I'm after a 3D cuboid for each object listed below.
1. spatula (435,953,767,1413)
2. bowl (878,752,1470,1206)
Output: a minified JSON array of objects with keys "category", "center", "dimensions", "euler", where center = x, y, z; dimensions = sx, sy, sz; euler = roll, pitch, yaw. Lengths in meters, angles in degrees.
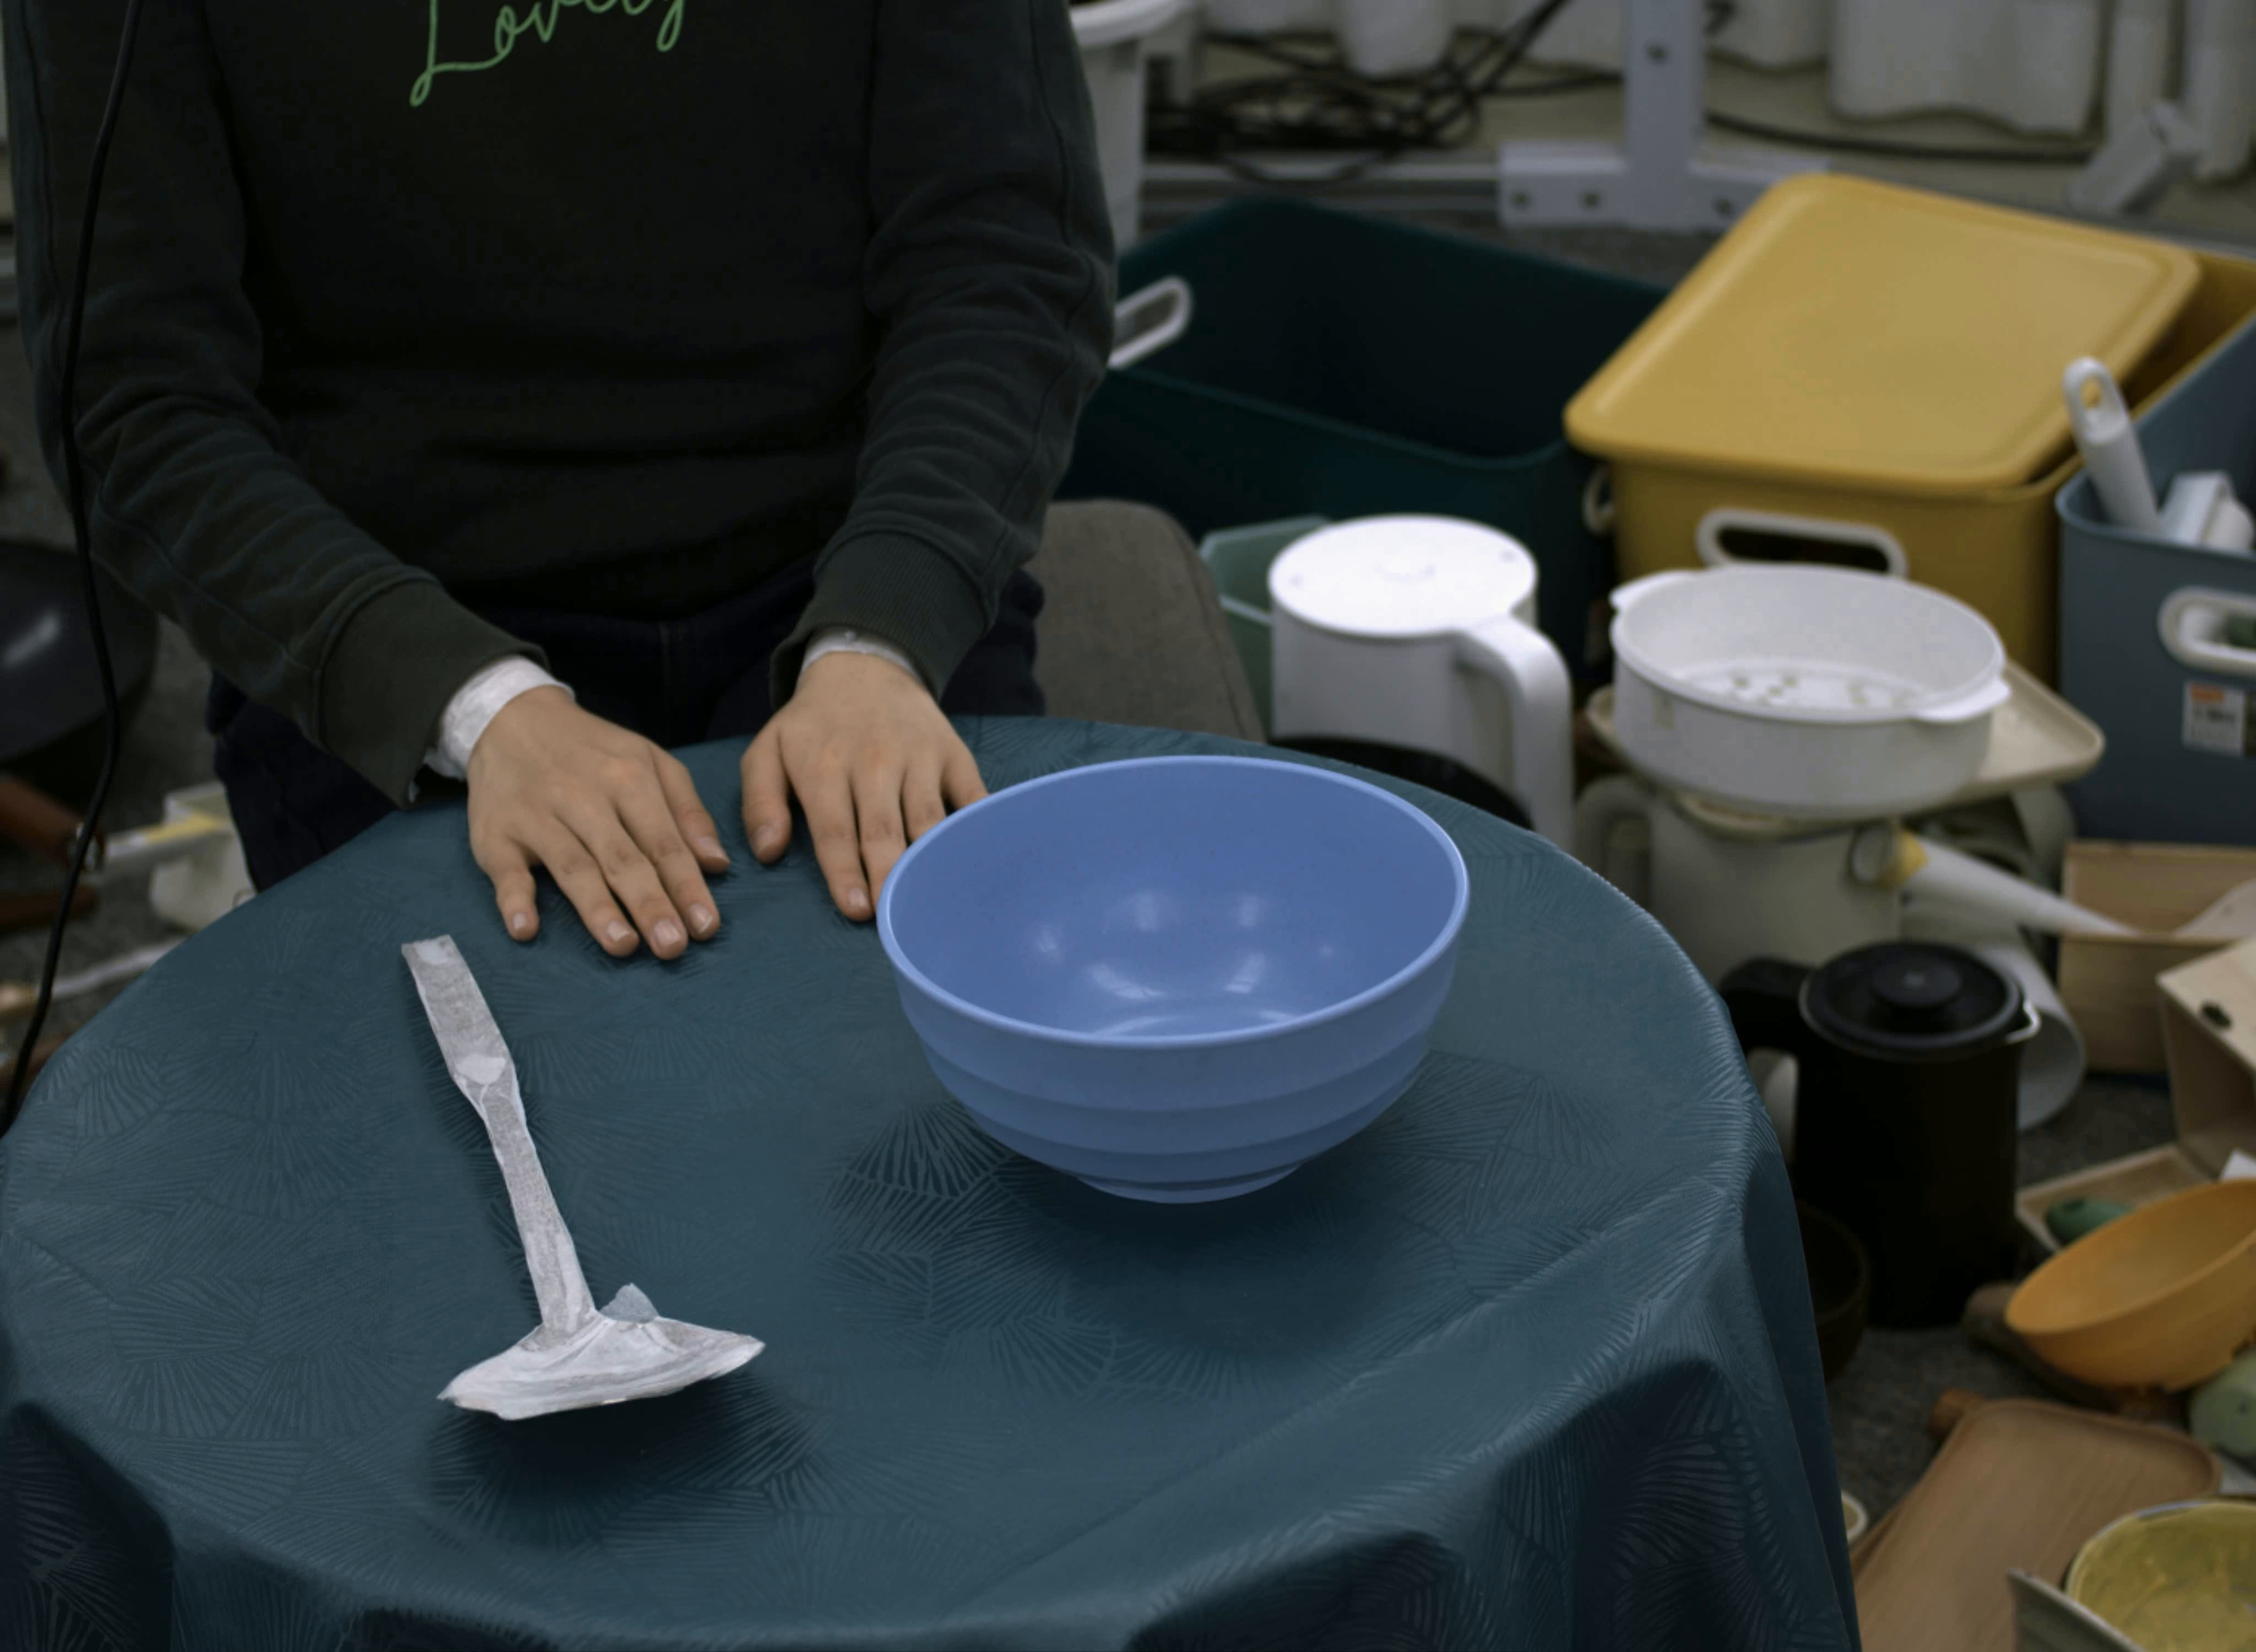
[{"category":"spatula","center":[-0.198,0.110,1.861],"dimensions":[0.099,0.044,0.369],"euler":[-11,28,-11]},{"category":"bowl","center":[0.018,0.062,1.872],"dimensions":[0.195,0.094,0.199],"euler":[-3,28,2]}]
